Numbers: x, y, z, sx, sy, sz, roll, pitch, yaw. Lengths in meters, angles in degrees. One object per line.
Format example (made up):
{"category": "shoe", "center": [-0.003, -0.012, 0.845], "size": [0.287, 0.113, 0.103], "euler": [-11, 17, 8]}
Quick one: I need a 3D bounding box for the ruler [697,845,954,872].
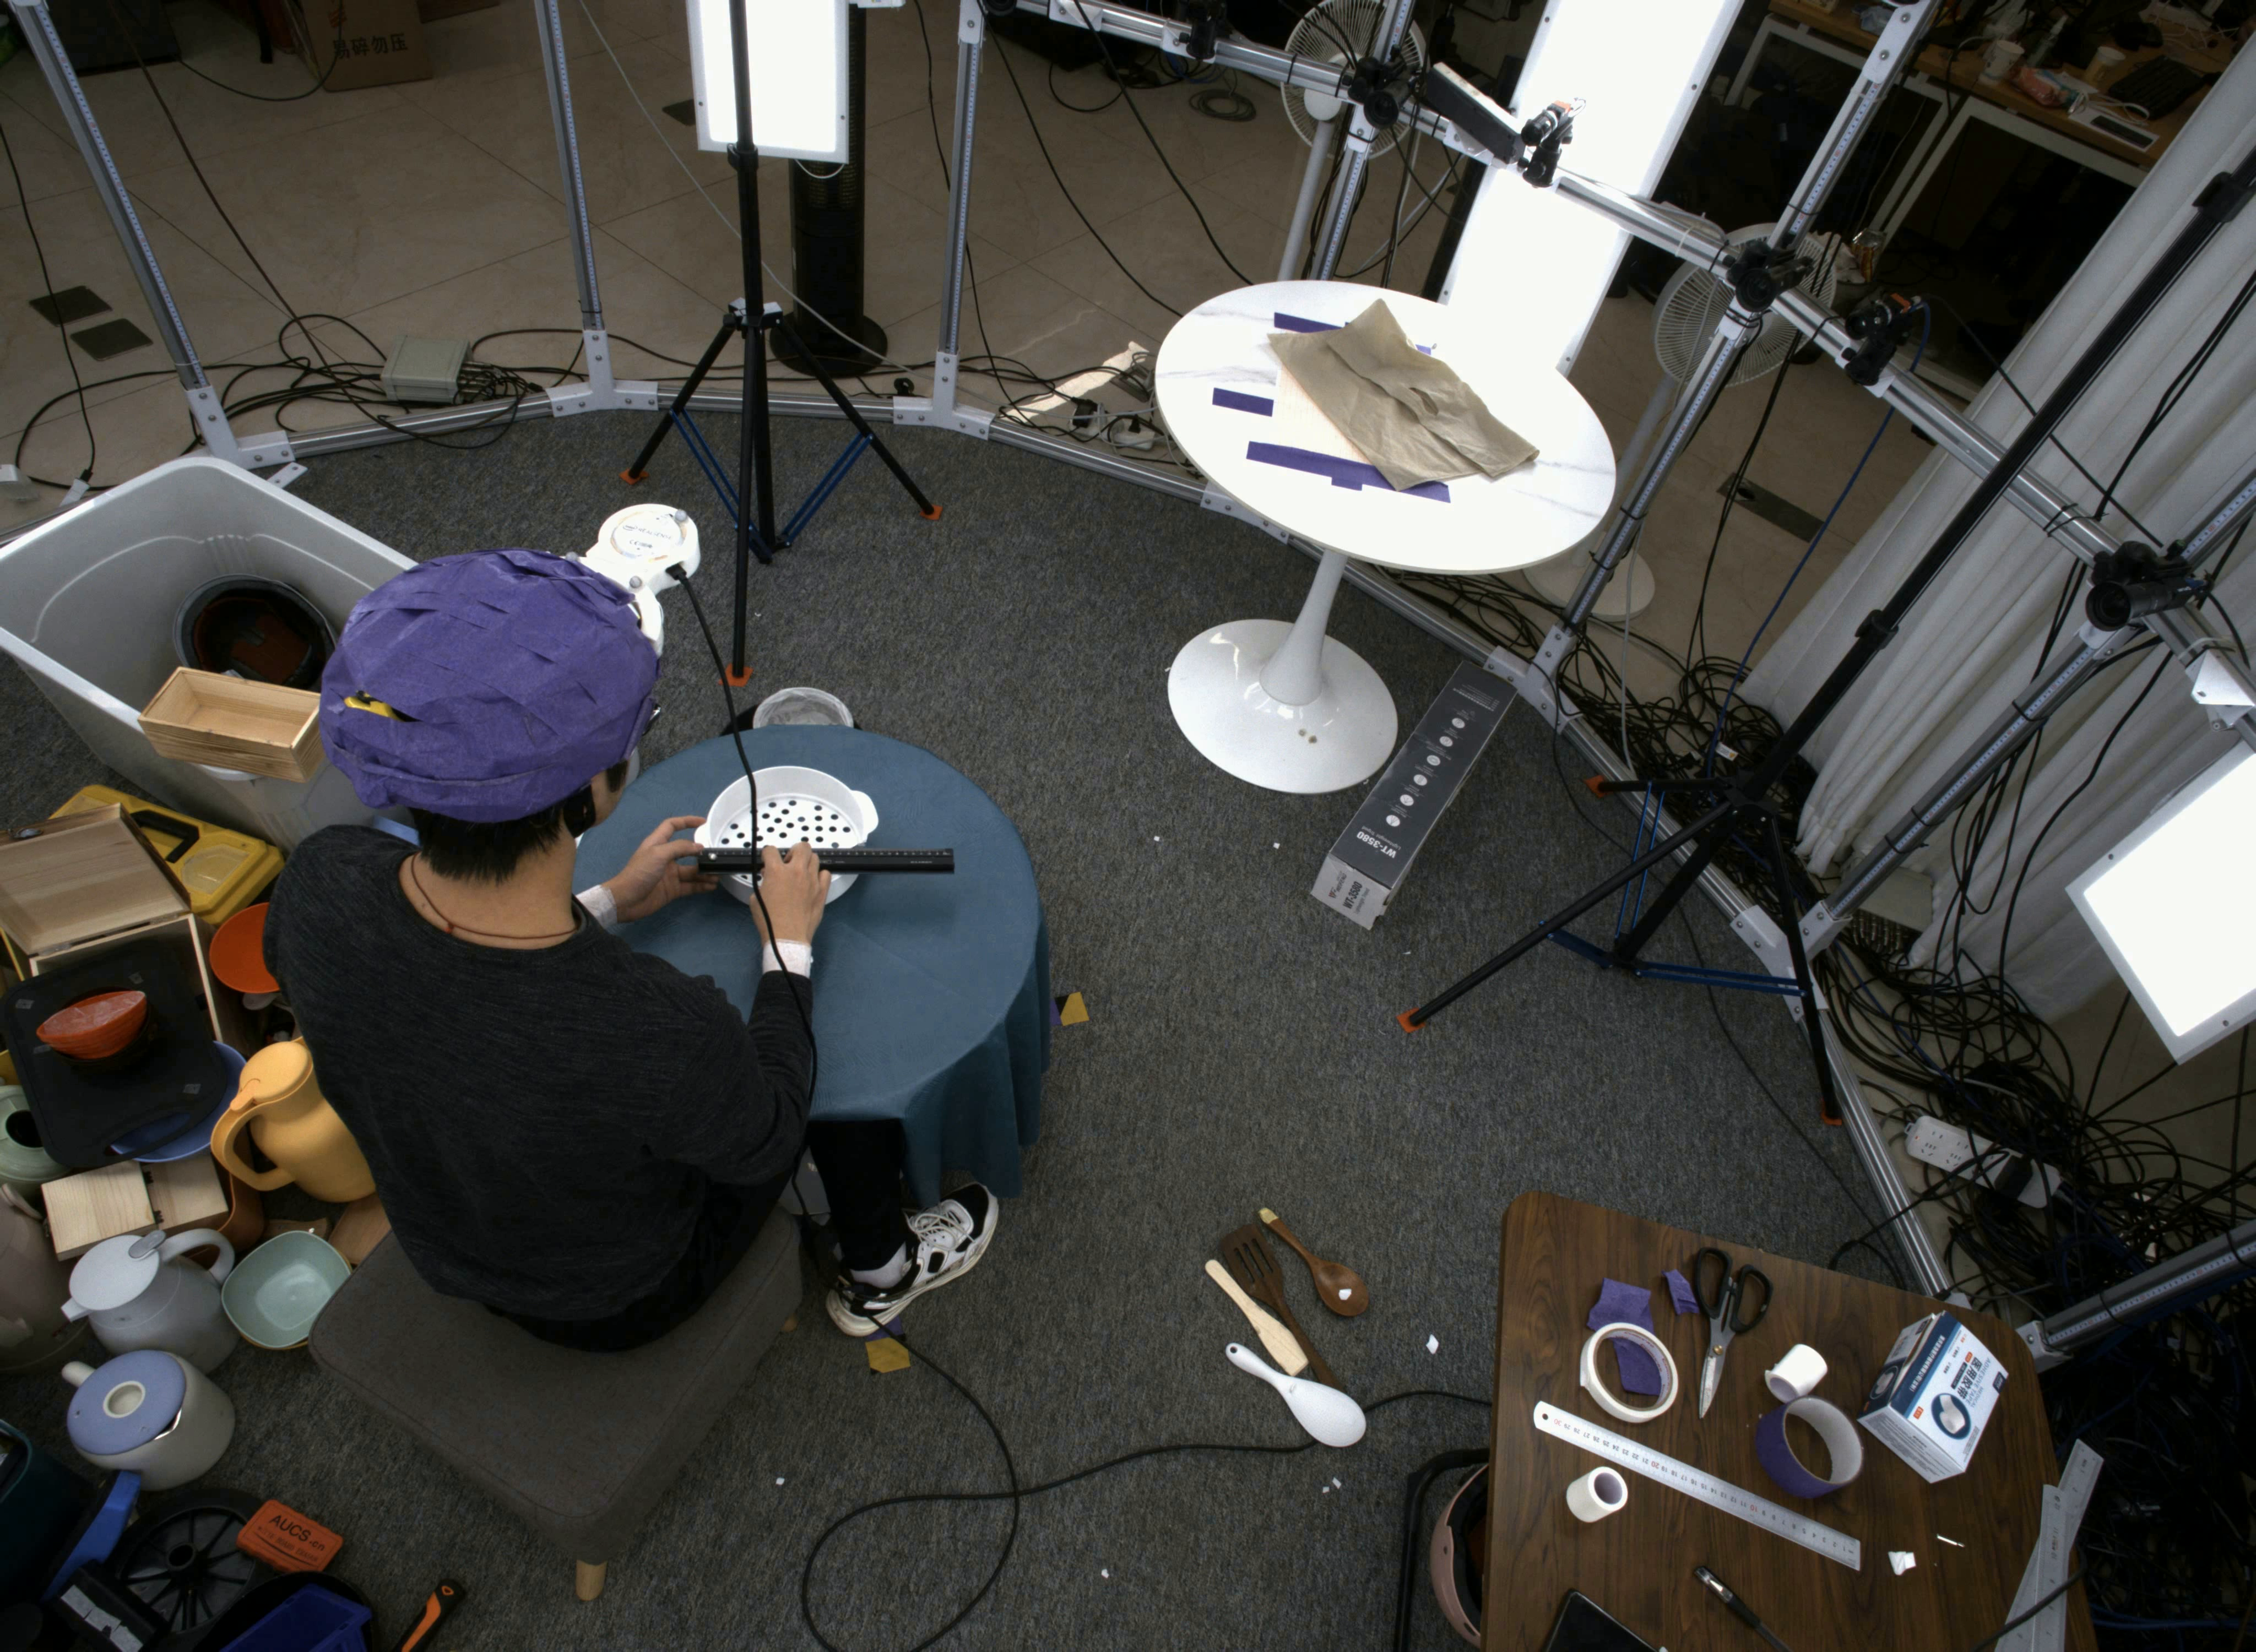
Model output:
{"category": "ruler", "center": [-0.372, 0.035, 1.608], "size": [0.313, 0.017, 0.038], "euler": [1, 56, -15]}

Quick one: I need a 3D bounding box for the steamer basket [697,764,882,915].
{"category": "steamer basket", "center": [-0.431, 0.016, 1.661], "size": [0.232, 0.070, 0.197], "euler": [-13, 58, -25]}
